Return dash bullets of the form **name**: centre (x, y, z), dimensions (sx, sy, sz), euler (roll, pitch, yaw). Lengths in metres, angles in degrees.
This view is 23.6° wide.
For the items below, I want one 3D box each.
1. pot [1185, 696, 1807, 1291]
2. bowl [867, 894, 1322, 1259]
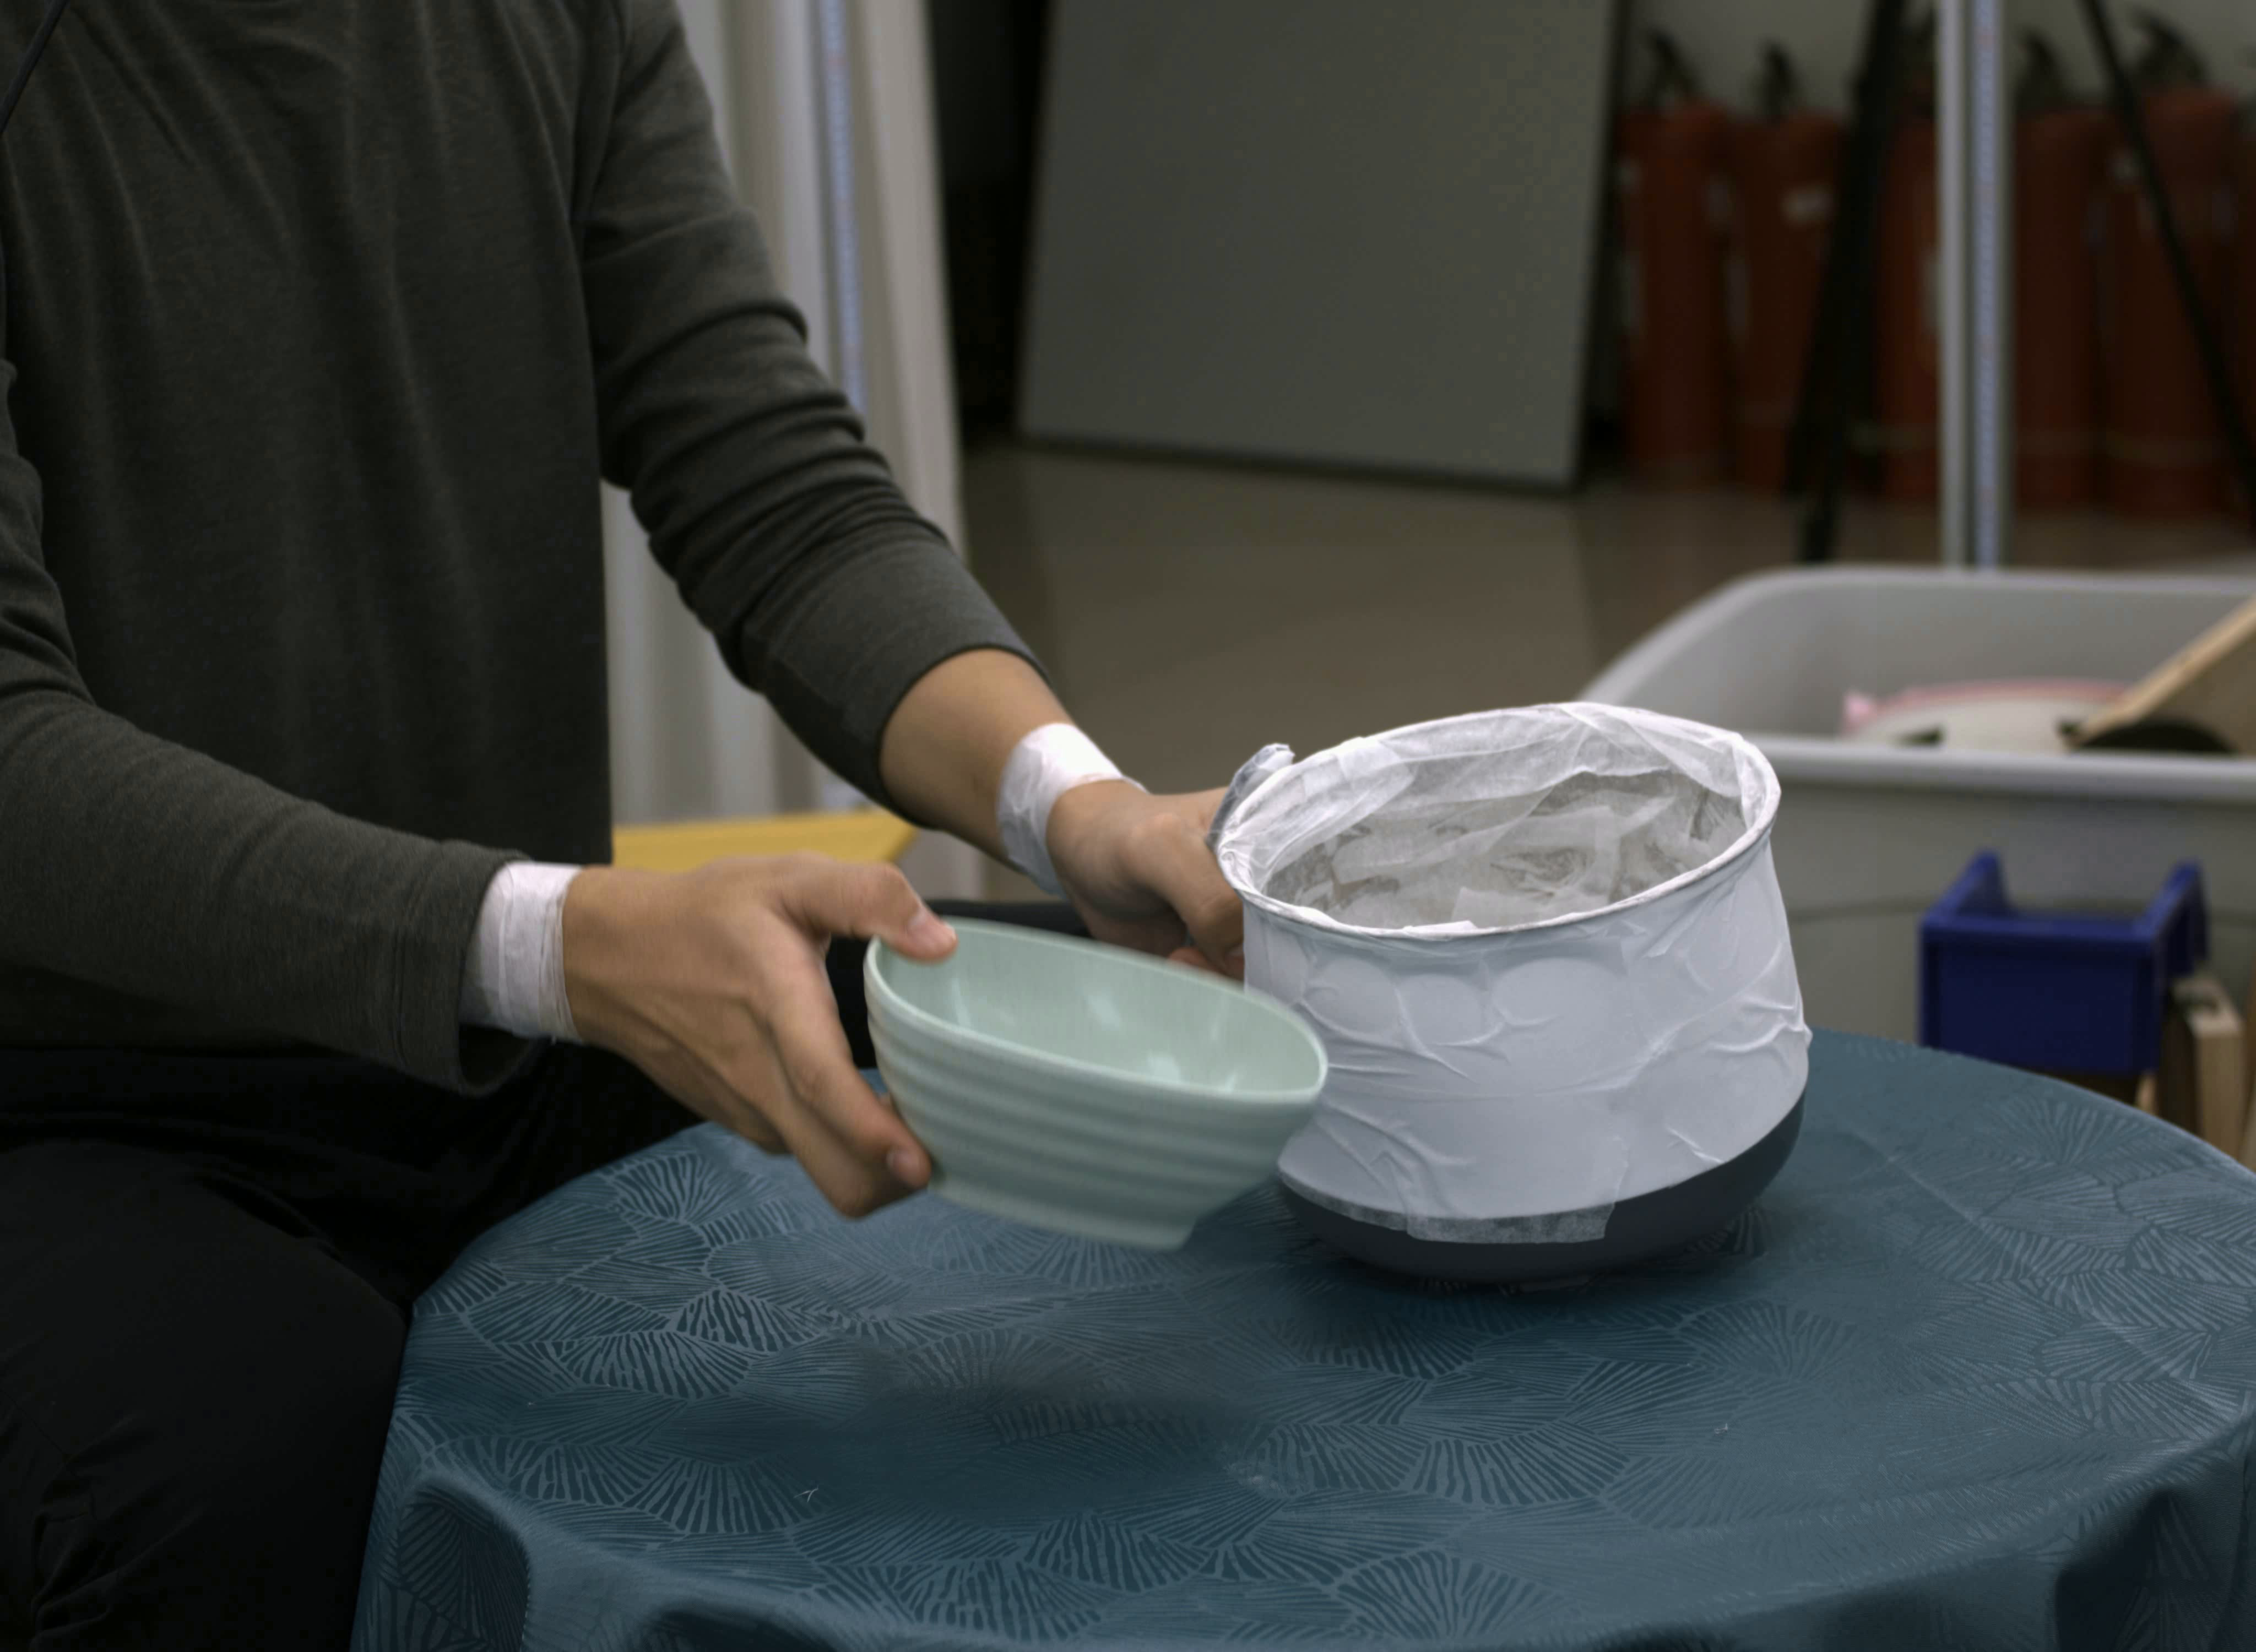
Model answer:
- **pot**: centre (0.103, 0.048, 1.707), dimensions (0.175, 0.138, 0.236), euler (-26, 27, -38)
- **bowl**: centre (-0.017, 0.077, 1.561), dimensions (0.149, 0.059, 0.152), euler (17, 15, -6)
